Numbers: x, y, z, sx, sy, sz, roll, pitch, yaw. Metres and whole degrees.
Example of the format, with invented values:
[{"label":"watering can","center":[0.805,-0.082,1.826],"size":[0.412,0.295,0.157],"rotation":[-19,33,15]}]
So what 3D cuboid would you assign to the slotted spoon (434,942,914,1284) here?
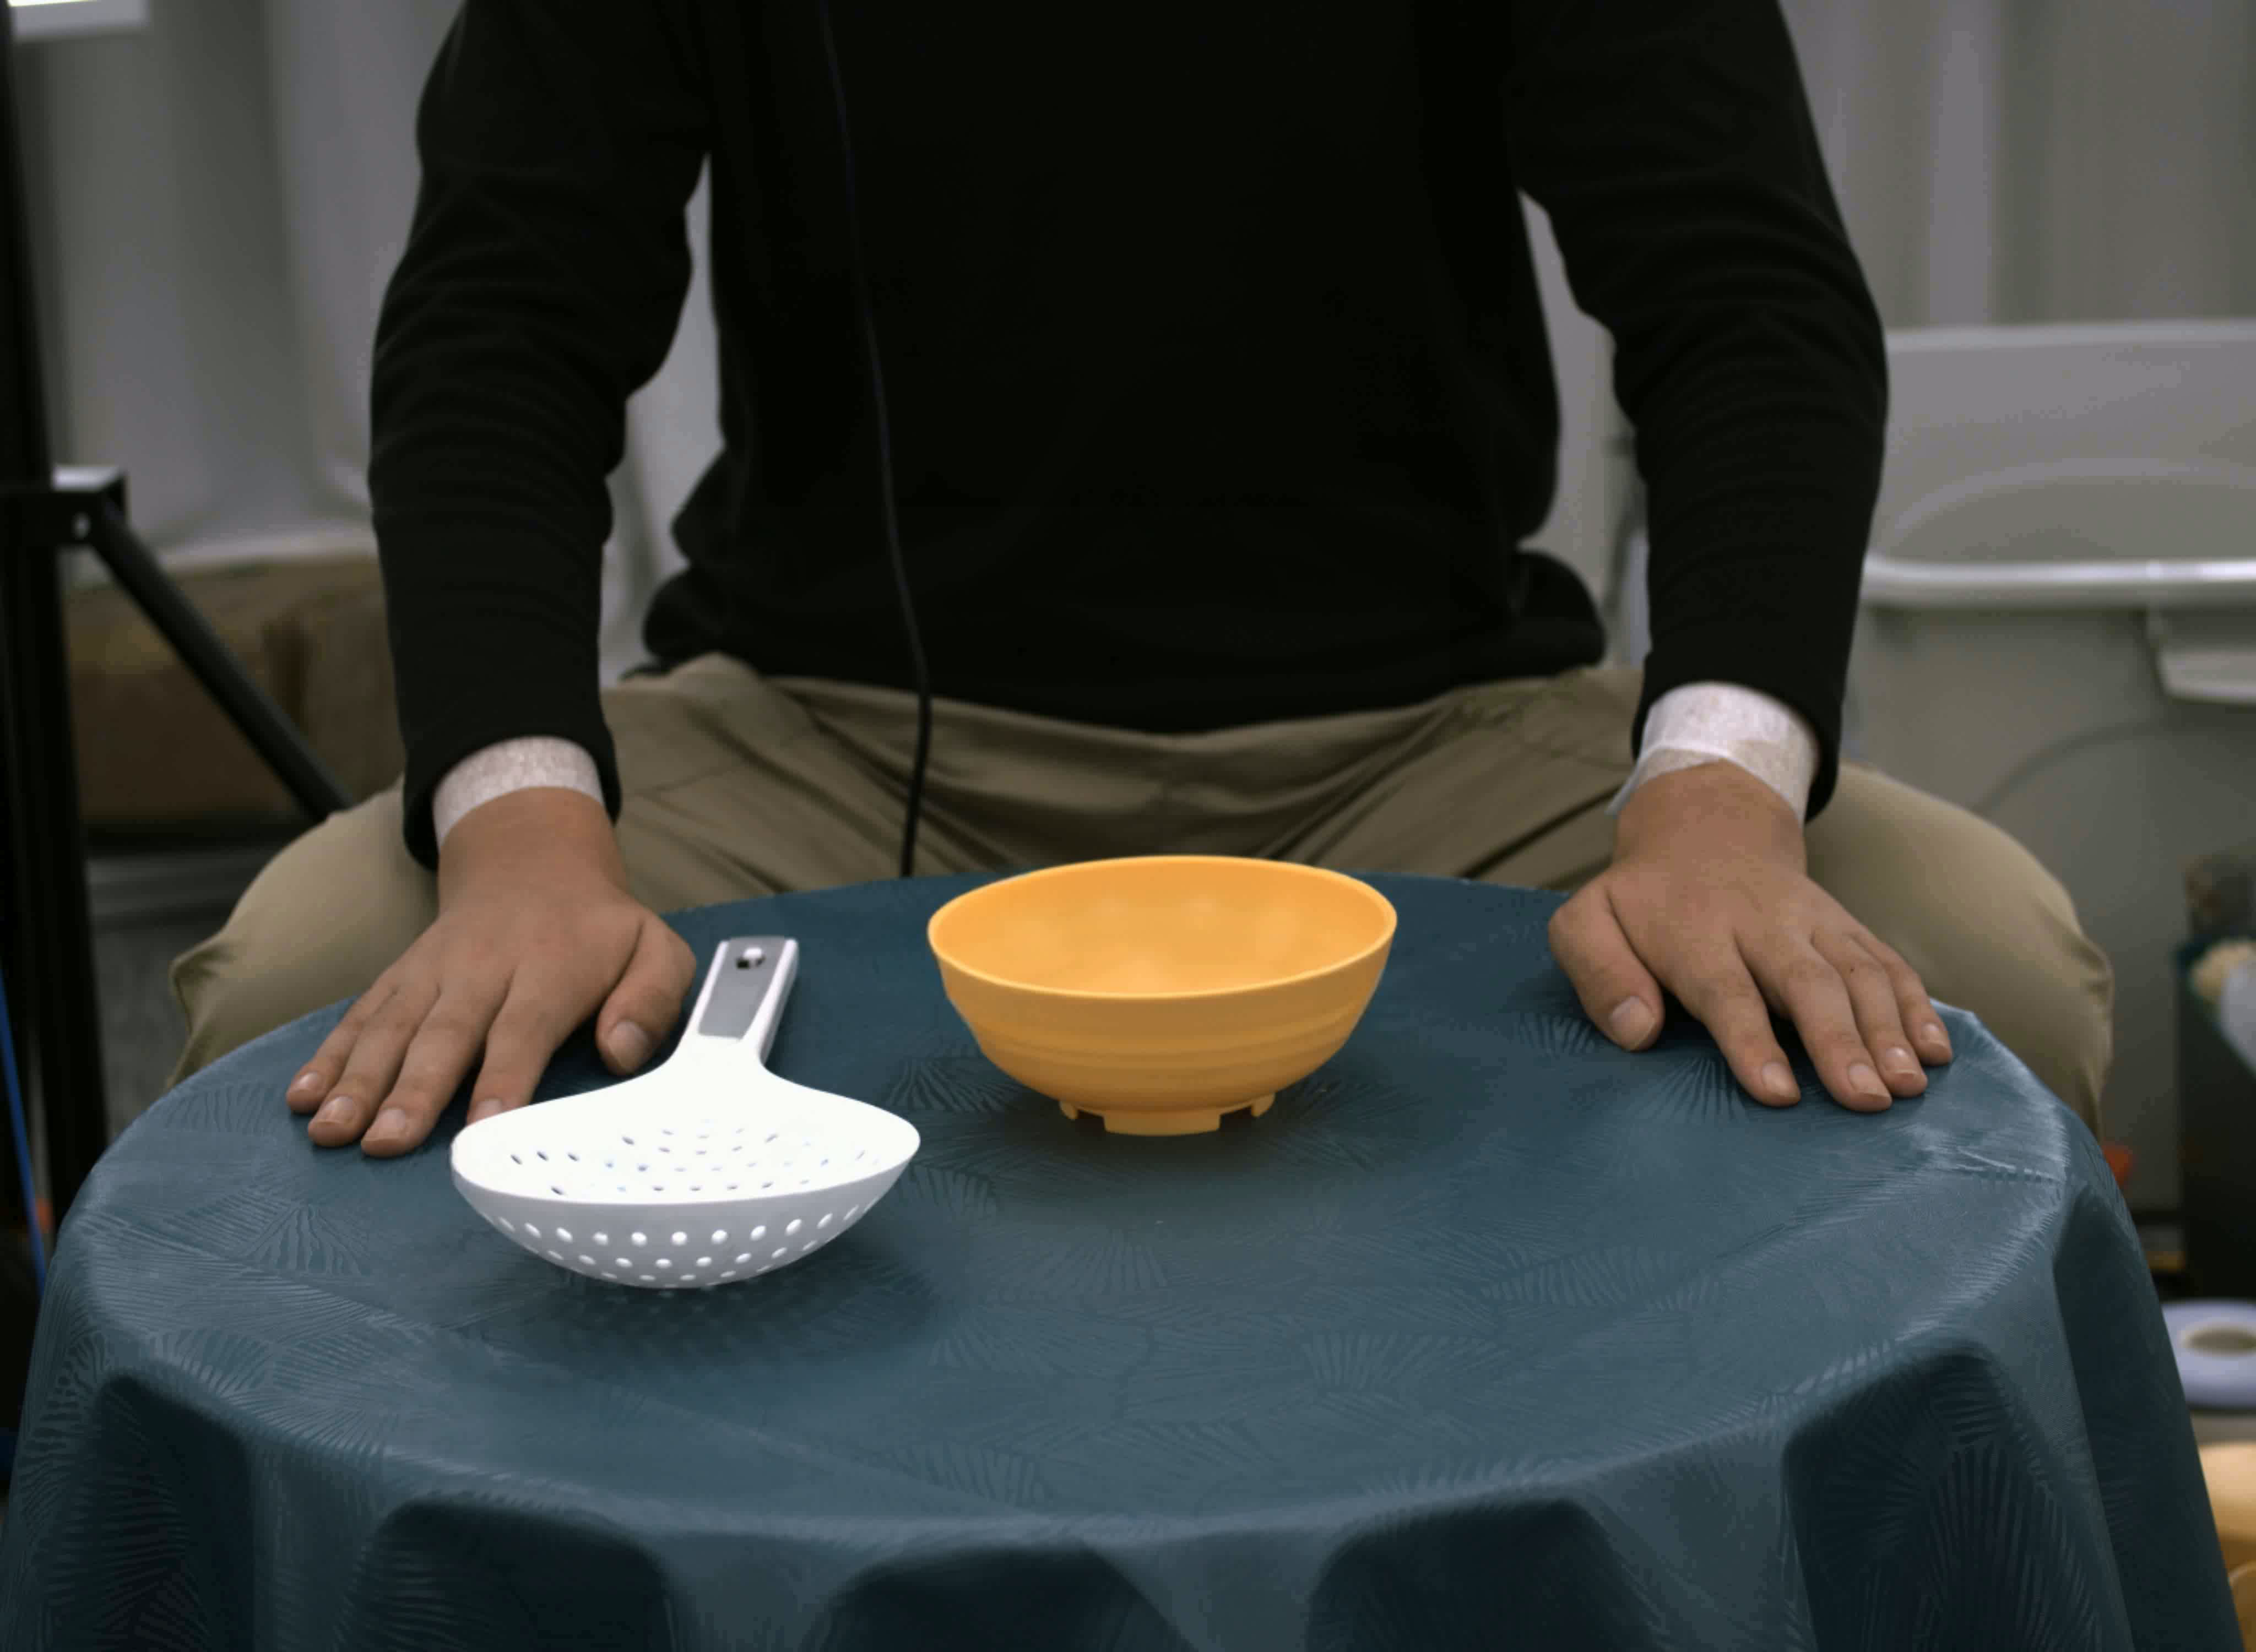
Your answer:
[{"label":"slotted spoon","center":[-0.126,0.077,1.605],"size":[0.135,0.046,0.351],"rotation":[-2,15,1]}]

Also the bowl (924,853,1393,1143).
[{"label":"bowl","center":[0.009,0.058,1.631],"size":[0.144,0.060,0.146],"rotation":[-1,17,-1]}]
